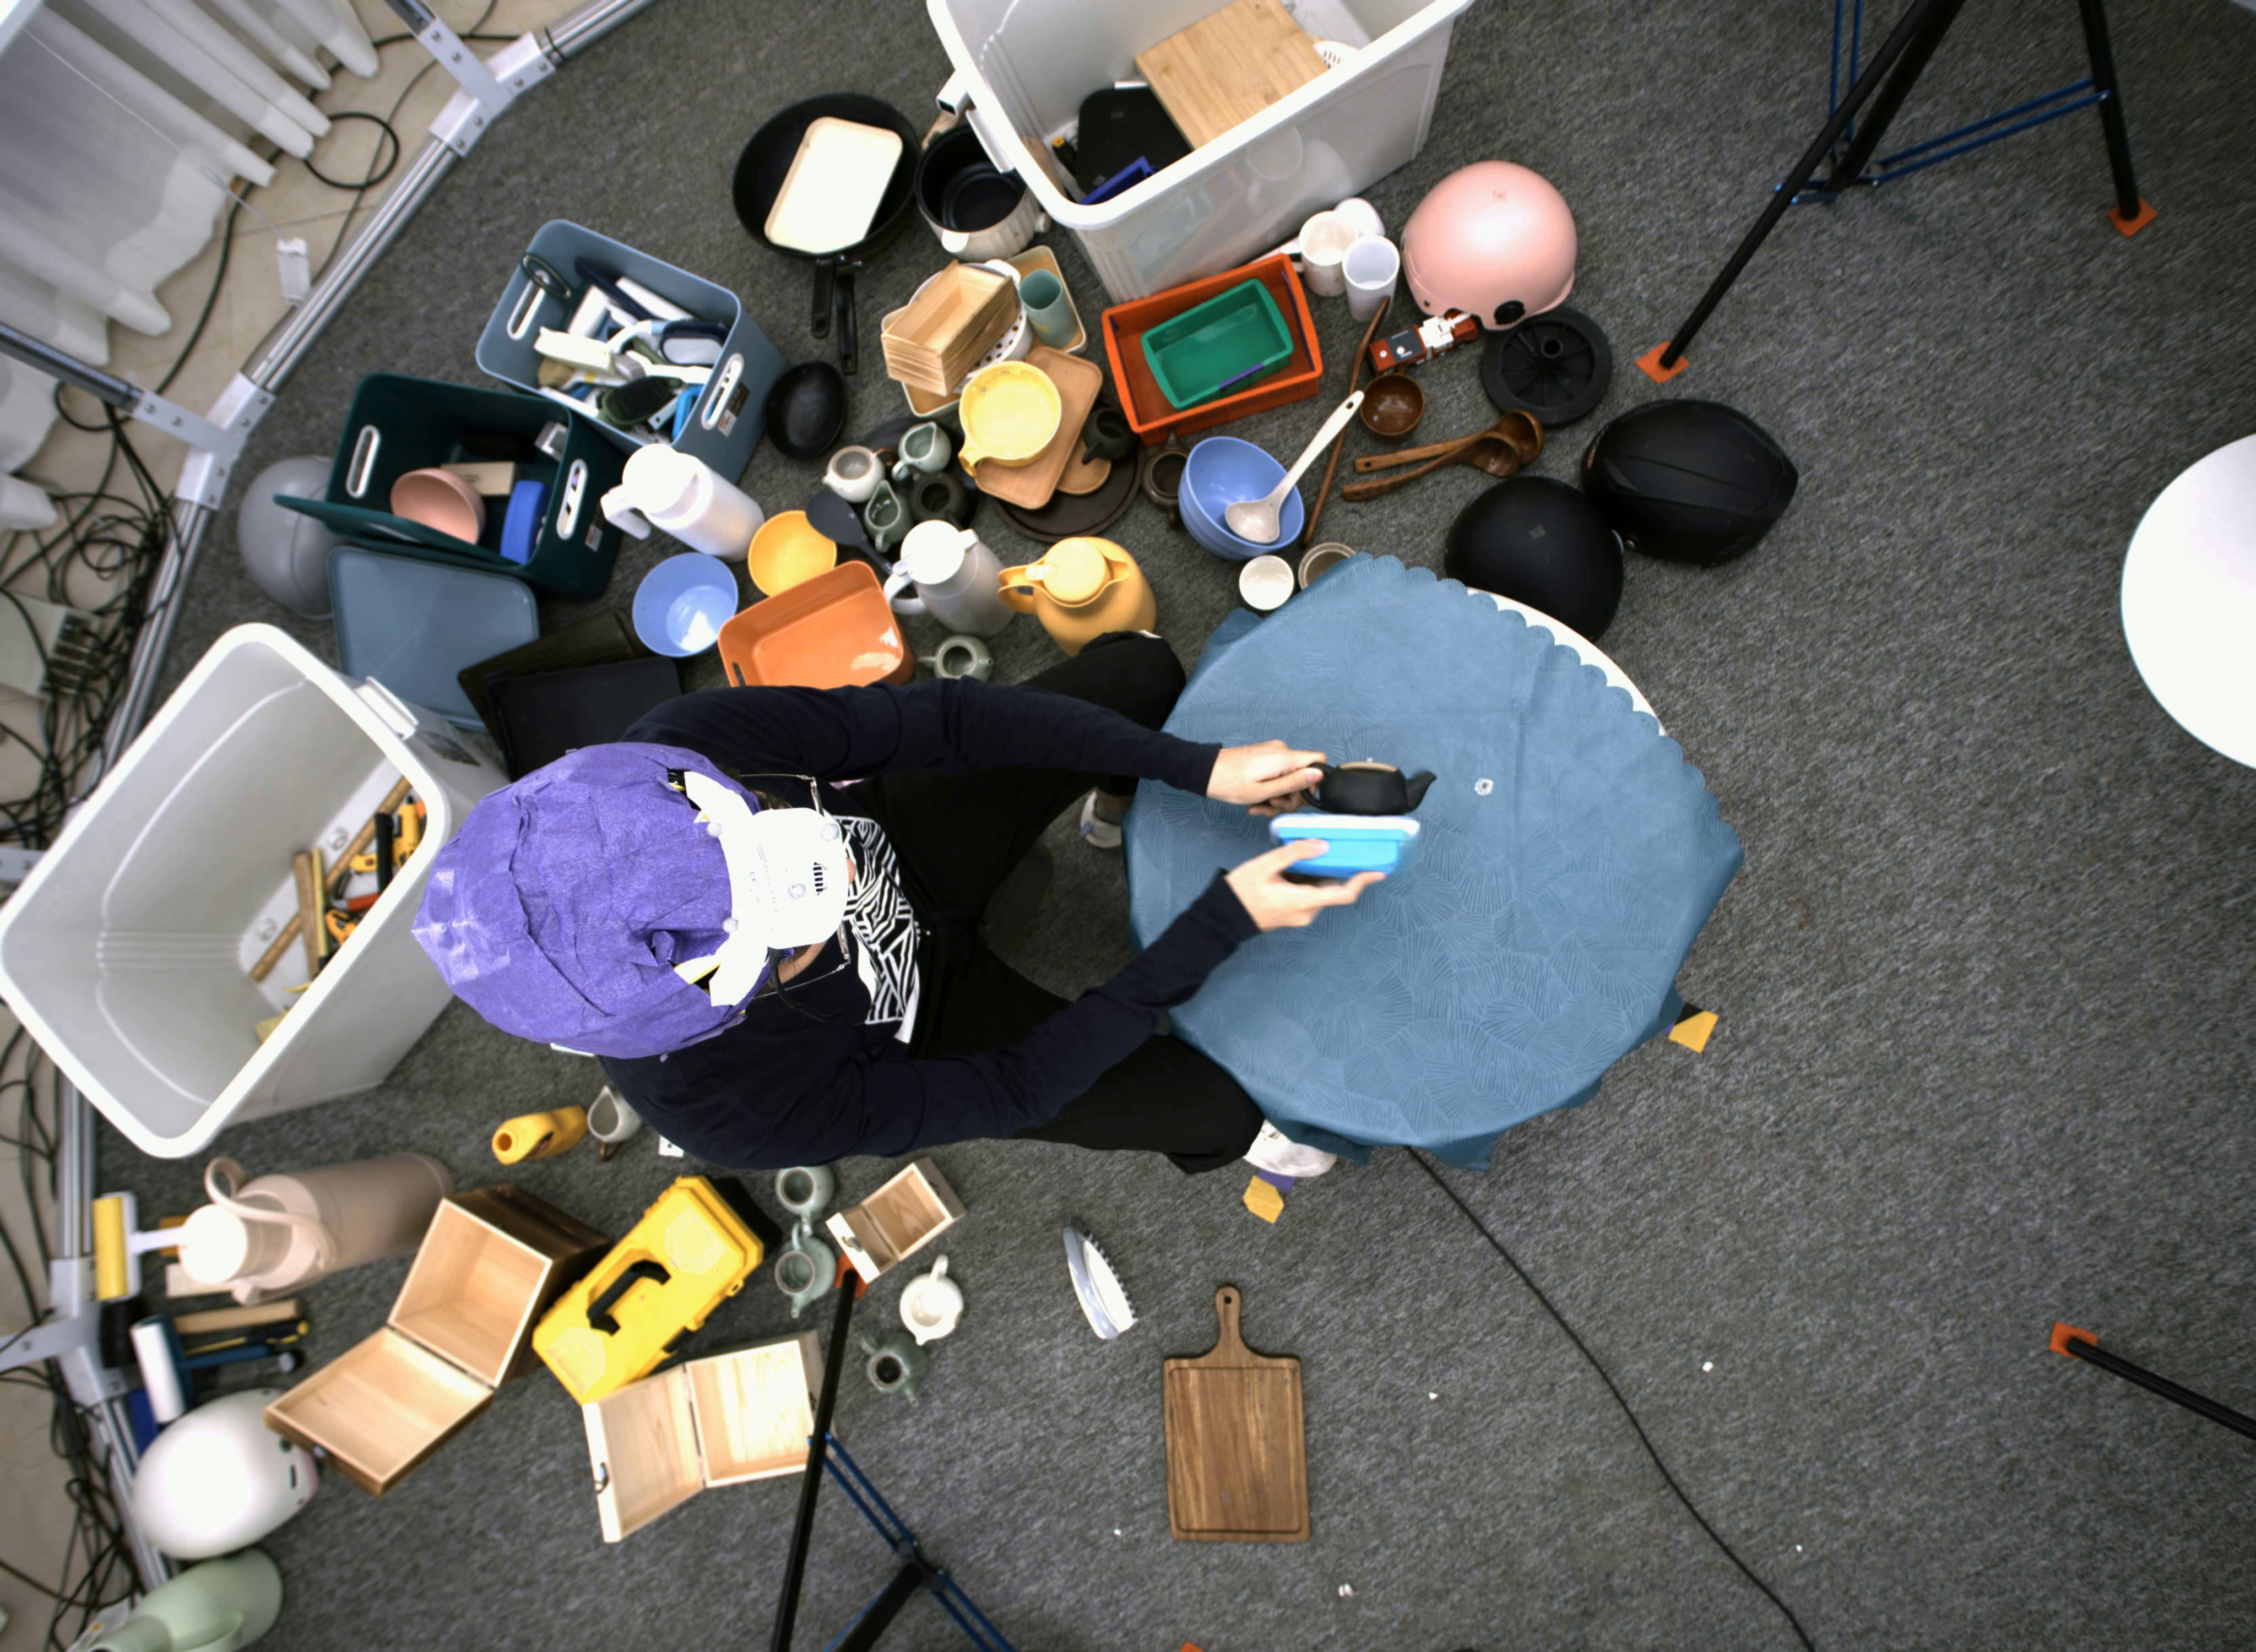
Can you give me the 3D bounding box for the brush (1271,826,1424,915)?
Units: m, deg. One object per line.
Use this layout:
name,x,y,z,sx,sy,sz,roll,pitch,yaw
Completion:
brush,0.216,0.047,1.348,0.145,0.085,0.054,-19,59,21

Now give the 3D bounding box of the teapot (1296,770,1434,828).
teapot,0.229,-0.027,1.344,0.134,0.090,0.053,3,93,15
